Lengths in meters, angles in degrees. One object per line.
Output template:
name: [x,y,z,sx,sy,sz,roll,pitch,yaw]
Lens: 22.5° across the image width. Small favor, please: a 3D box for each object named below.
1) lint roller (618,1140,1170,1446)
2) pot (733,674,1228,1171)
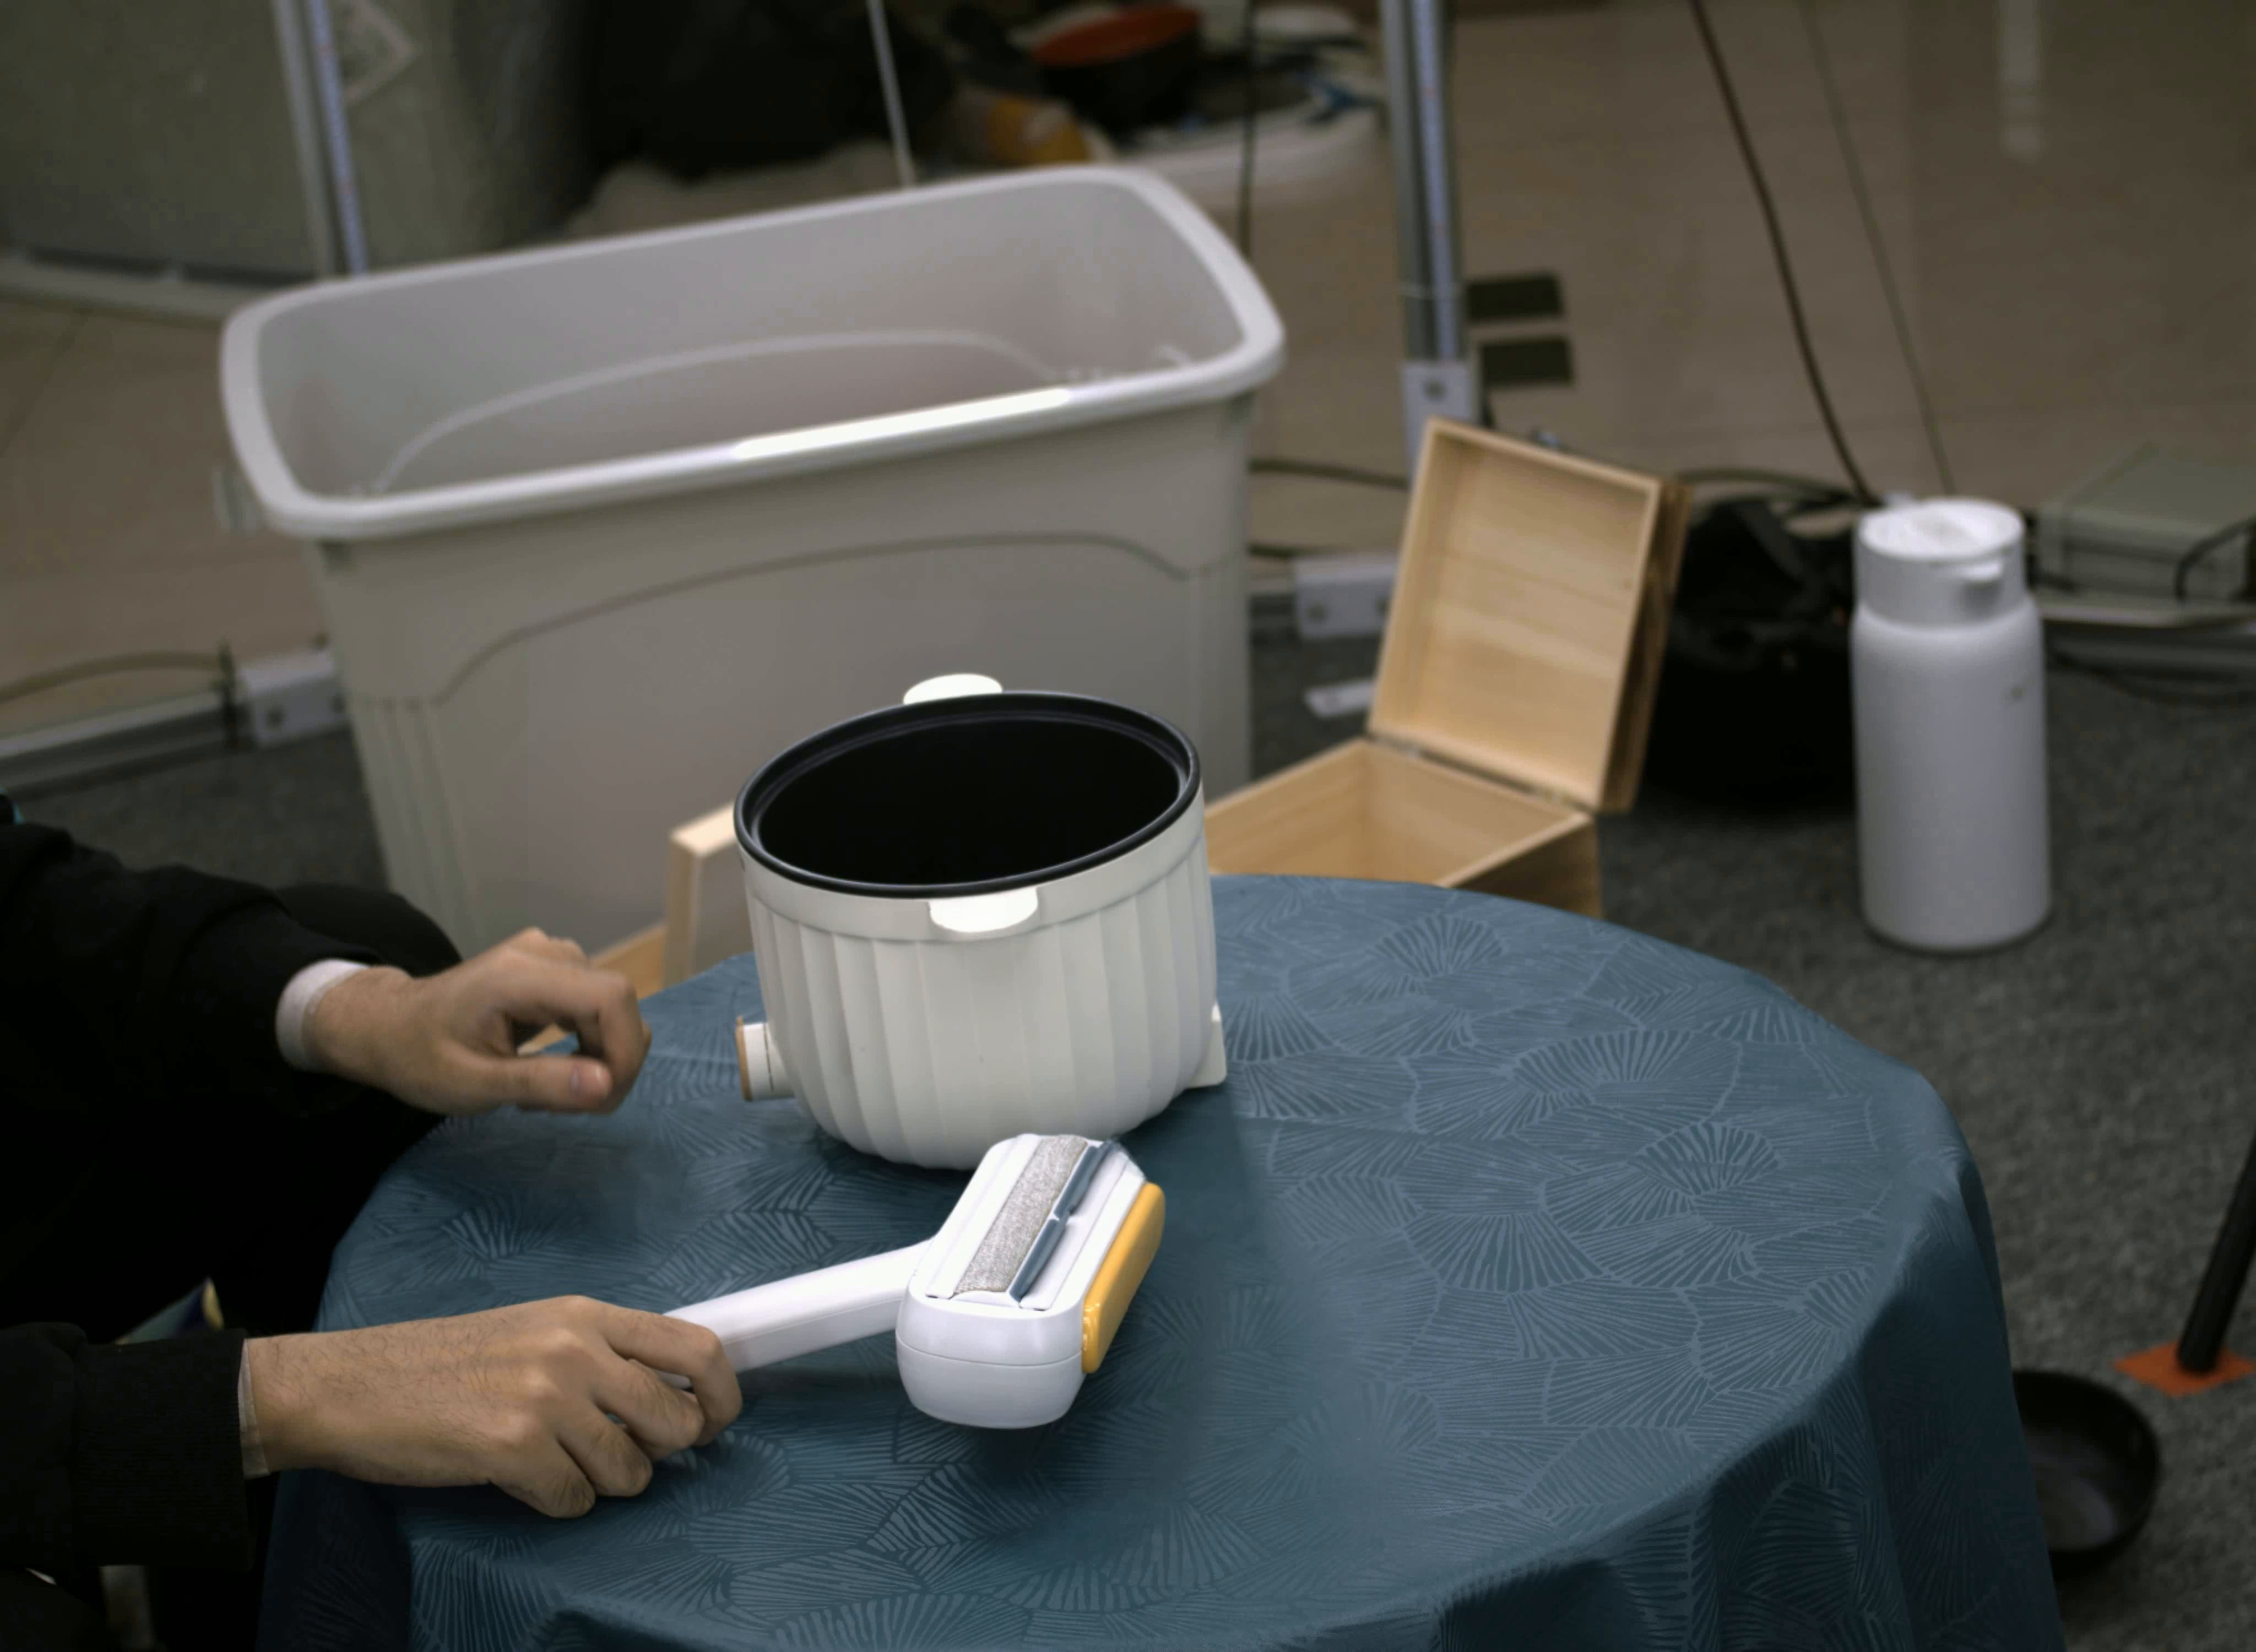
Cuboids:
lint roller: [-0.092,0.169,2.020,0.192,0.075,0.190,-1,20,15]
pot: [-0.060,0.046,2.191,0.190,0.145,0.237,-6,24,-4]
